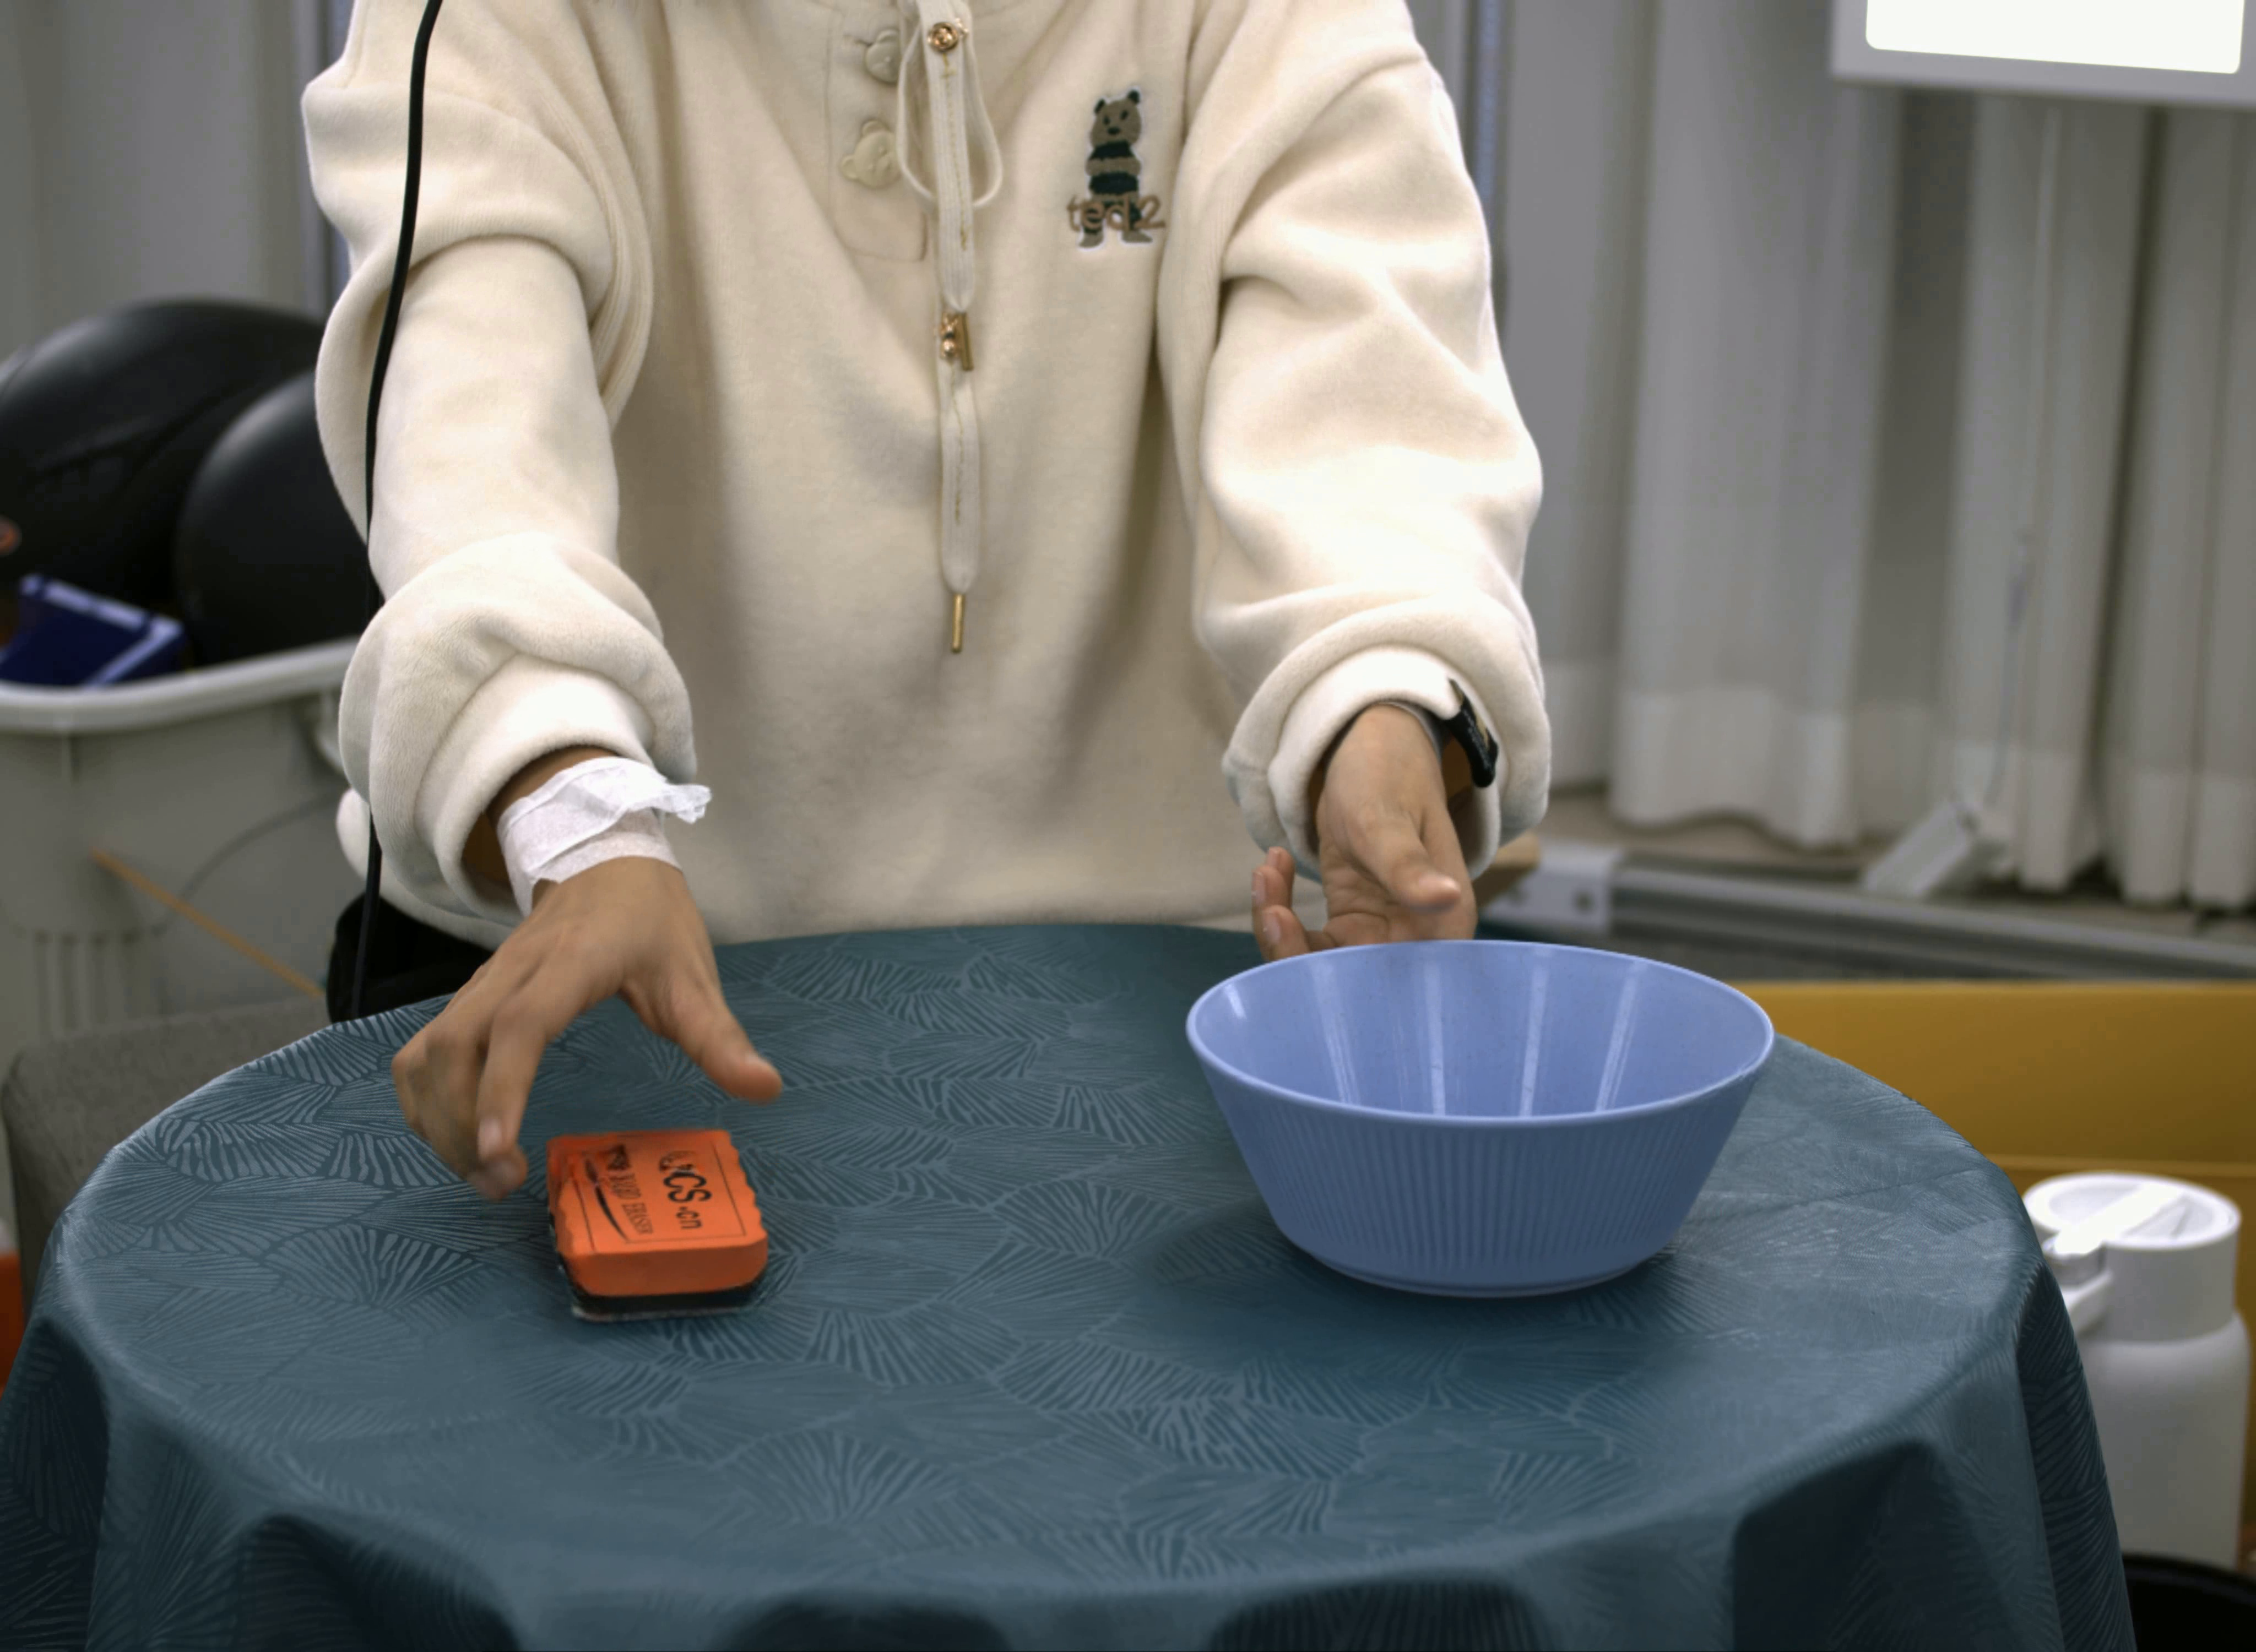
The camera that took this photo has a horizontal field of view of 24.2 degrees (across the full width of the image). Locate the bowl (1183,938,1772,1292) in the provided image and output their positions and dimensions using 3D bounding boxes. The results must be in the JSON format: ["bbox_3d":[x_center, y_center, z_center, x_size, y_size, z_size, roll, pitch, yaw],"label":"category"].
[{"bbox_3d":[0.104,0.089,1.575,0.175,0.071,0.175,1,16,0],"label":"bowl"}]

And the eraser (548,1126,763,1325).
[{"bbox_3d":[-0.140,0.117,1.556,0.059,0.023,0.107,-4,16,-9],"label":"eraser"}]
